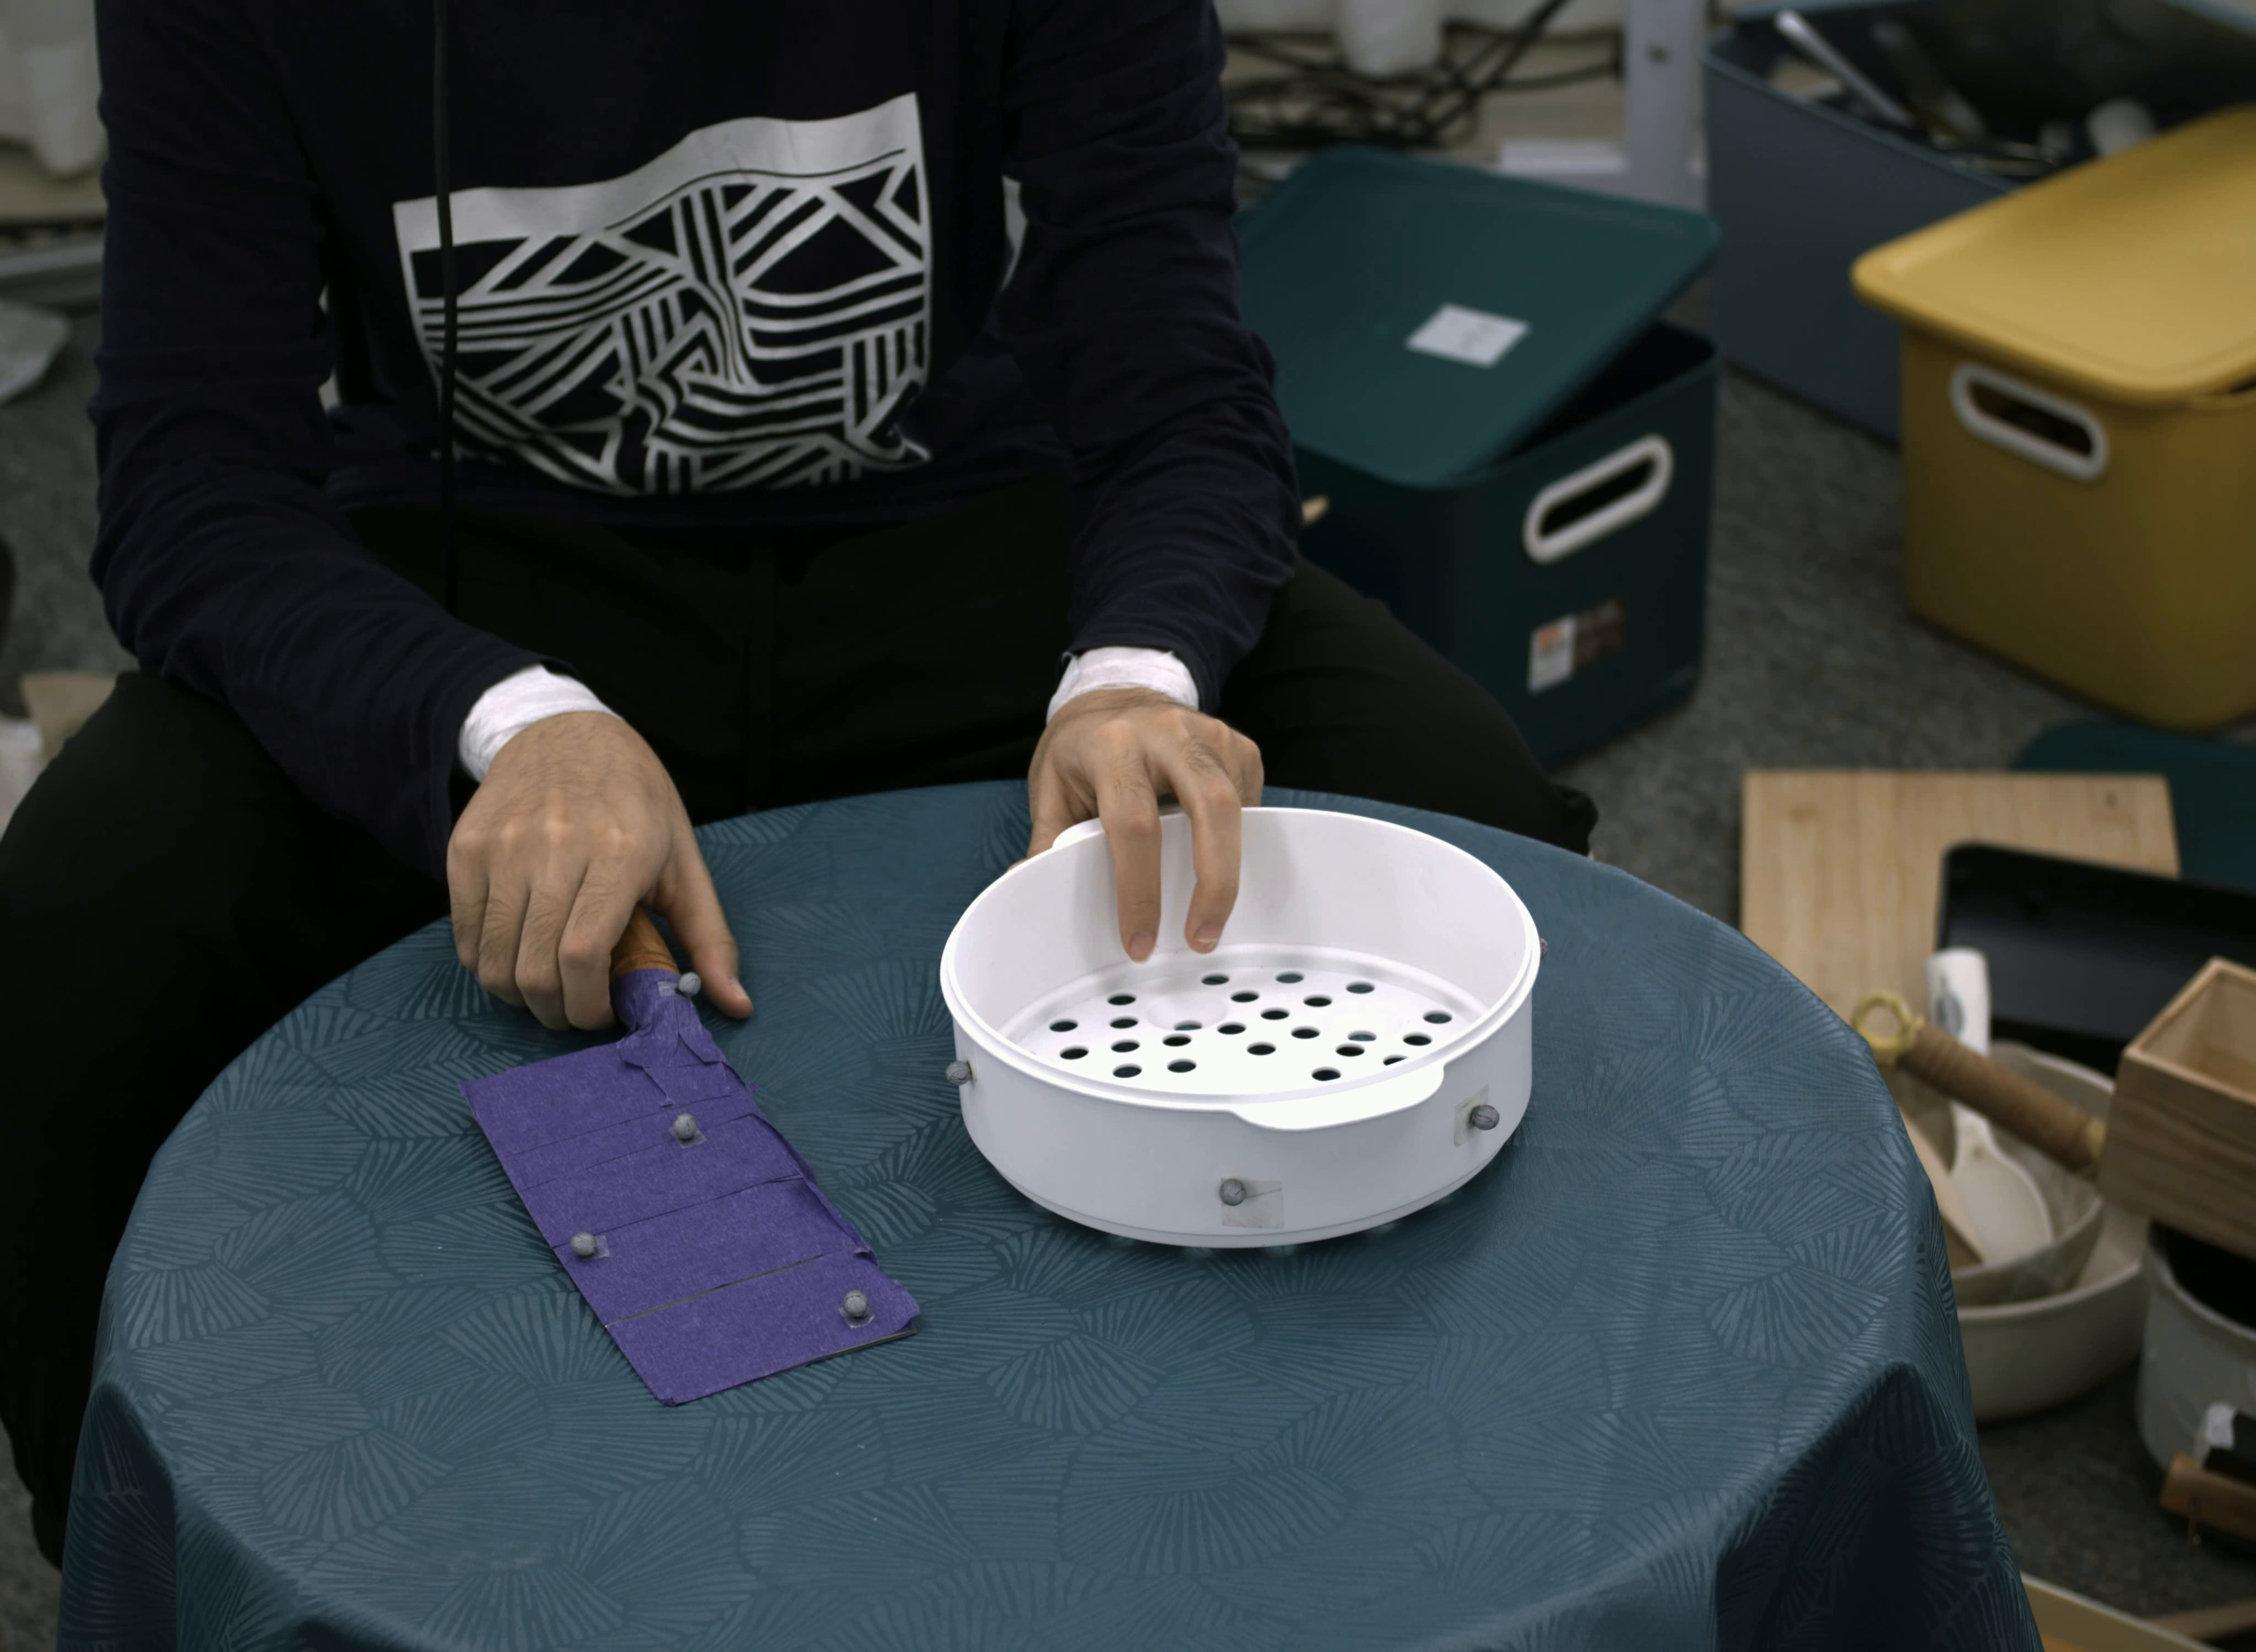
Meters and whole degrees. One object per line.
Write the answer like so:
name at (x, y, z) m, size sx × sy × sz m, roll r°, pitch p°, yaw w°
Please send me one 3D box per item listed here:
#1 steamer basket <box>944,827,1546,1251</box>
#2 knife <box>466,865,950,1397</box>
steamer basket at (0.040, 0.072, 1.884) m, size 0.202 × 0.068 × 0.232 m, roll -10°, pitch 25°, yaw -16°
knife at (-0.167, 0.098, 1.893) m, size 0.104 × 0.032 × 0.317 m, roll -14°, pitch 30°, yaw -21°
